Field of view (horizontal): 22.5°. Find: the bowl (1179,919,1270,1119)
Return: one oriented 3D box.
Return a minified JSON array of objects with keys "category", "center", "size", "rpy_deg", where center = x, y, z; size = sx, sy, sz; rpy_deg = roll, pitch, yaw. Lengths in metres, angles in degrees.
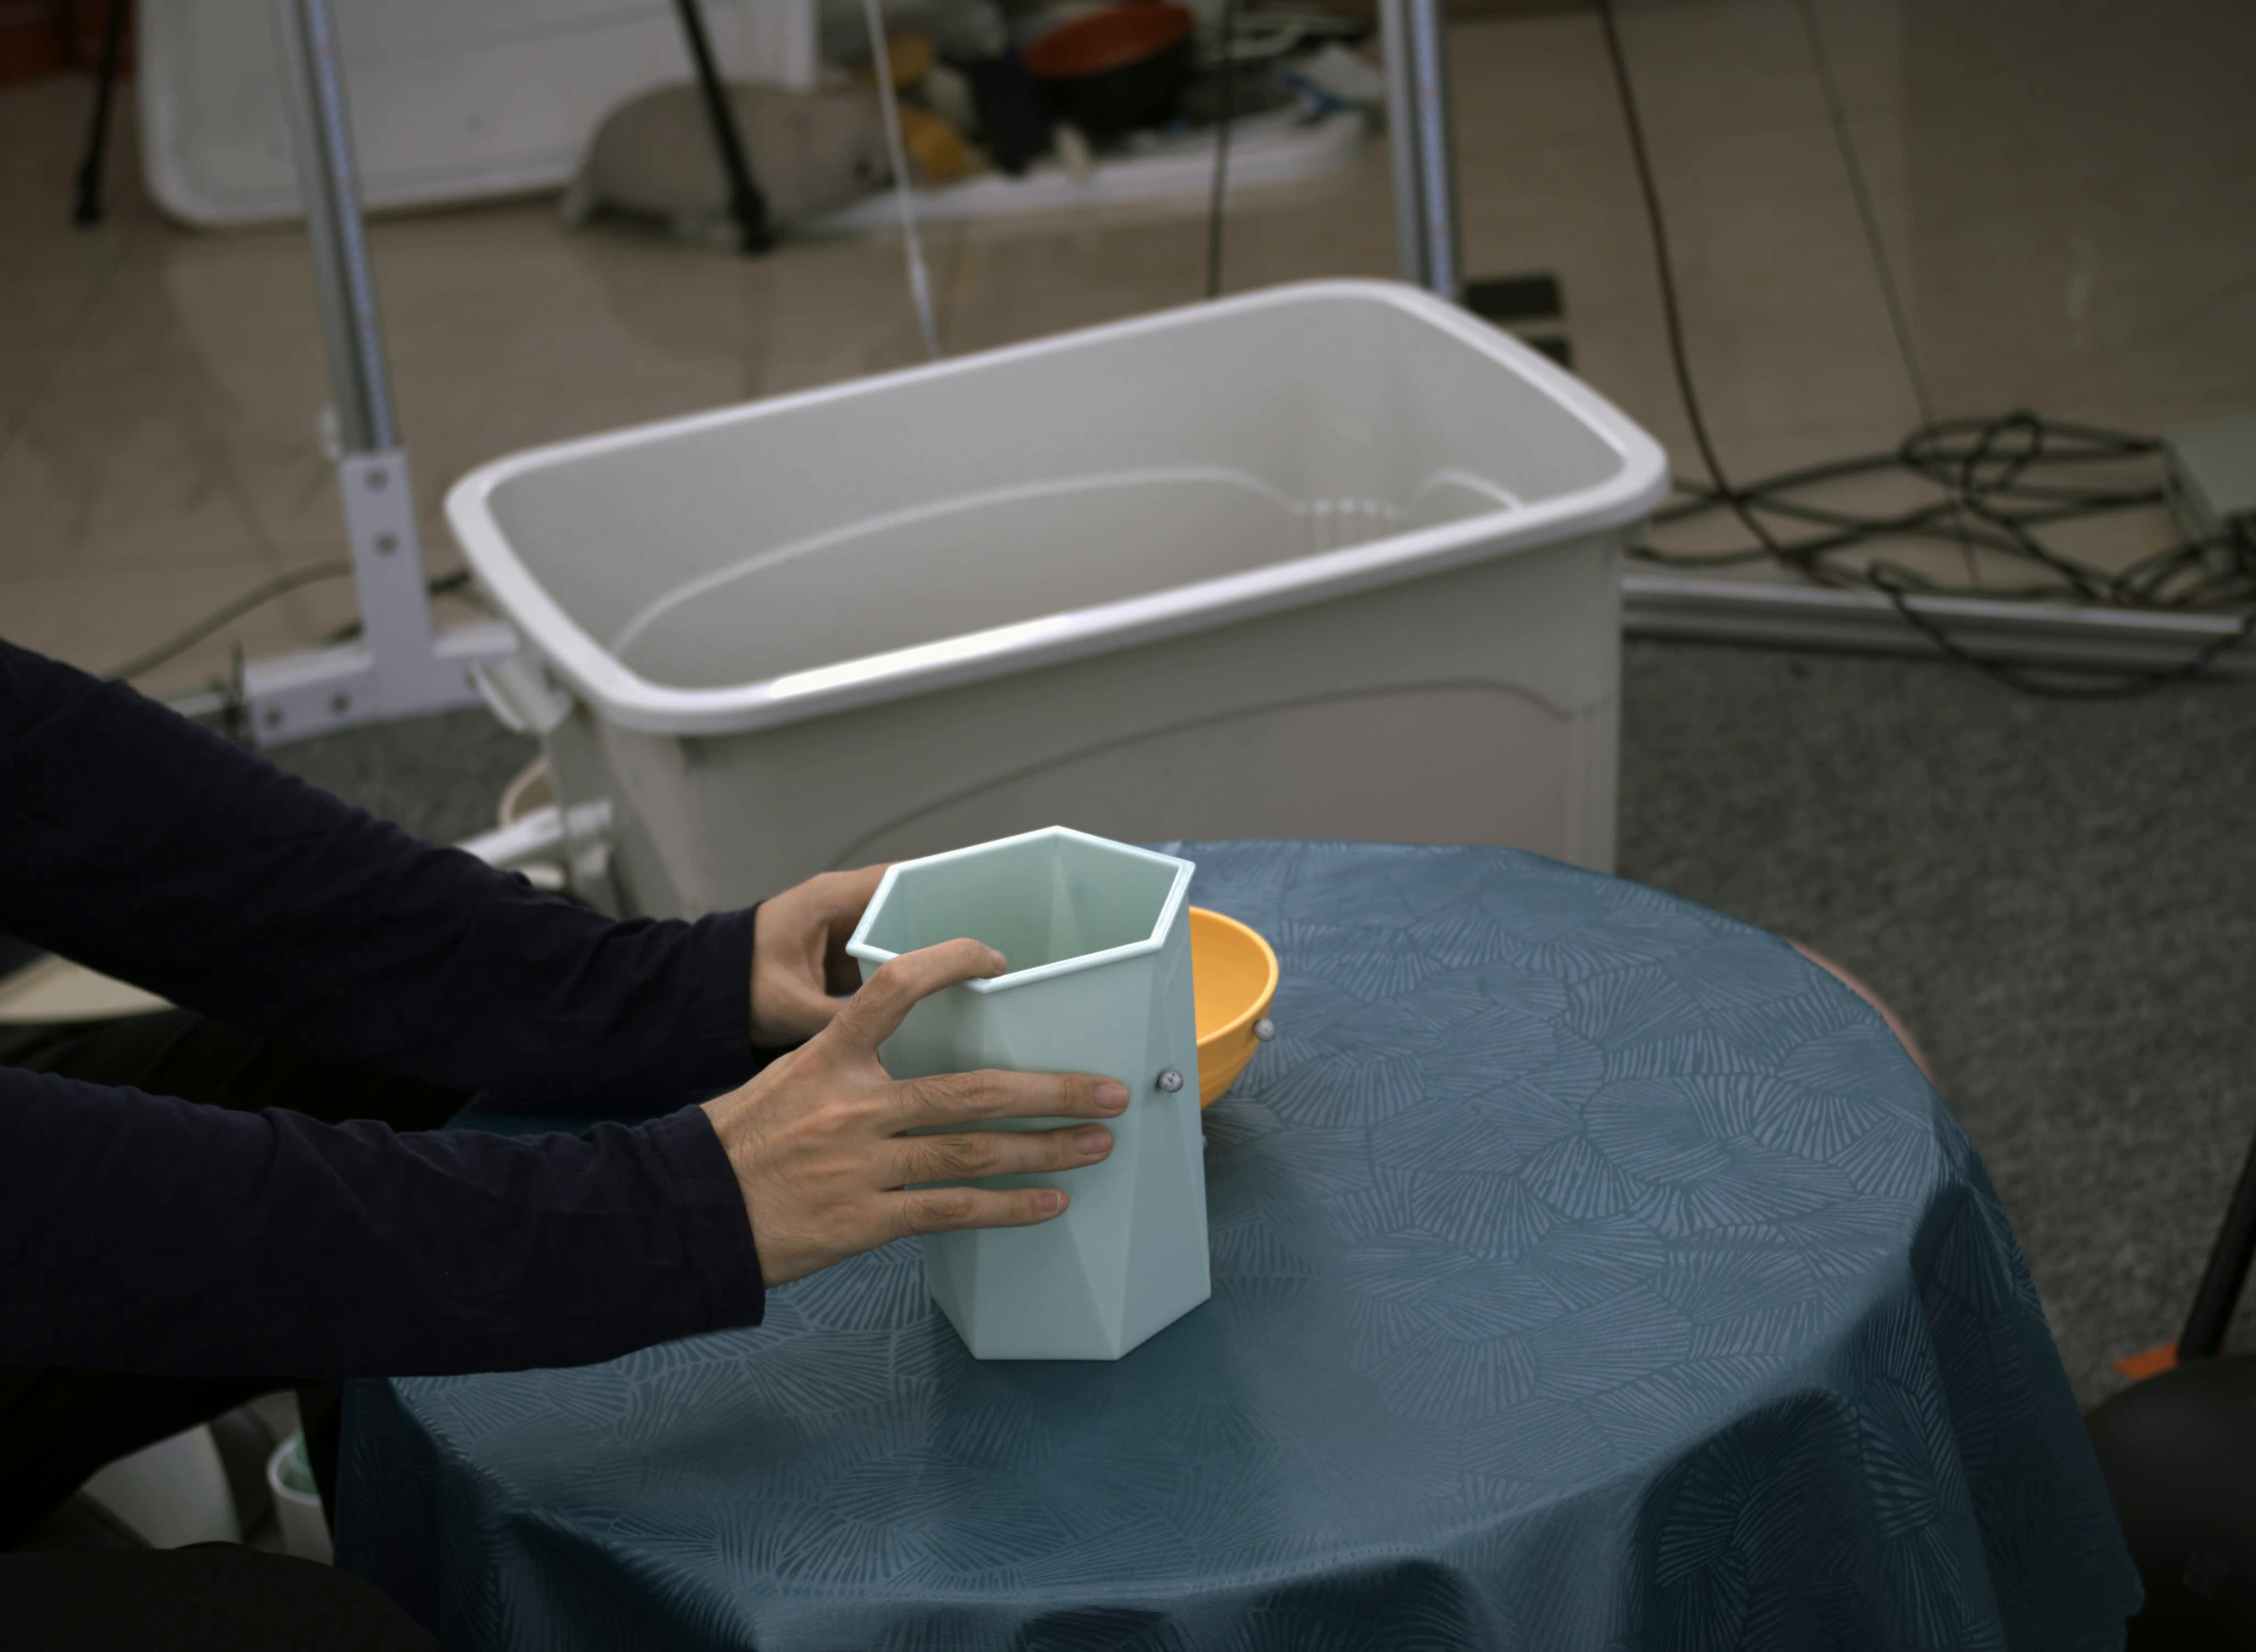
[{"category":"bowl","center":[-0.013,0.090,2.193],"size":[0.145,0.061,0.143],"rpy_deg":[-7,24,3]}]

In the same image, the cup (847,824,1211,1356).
[{"category":"cup","center":[-0.028,0.098,2.045],"size":[0.115,0.165,0.129],"rpy_deg":[-2,25,11]}]
